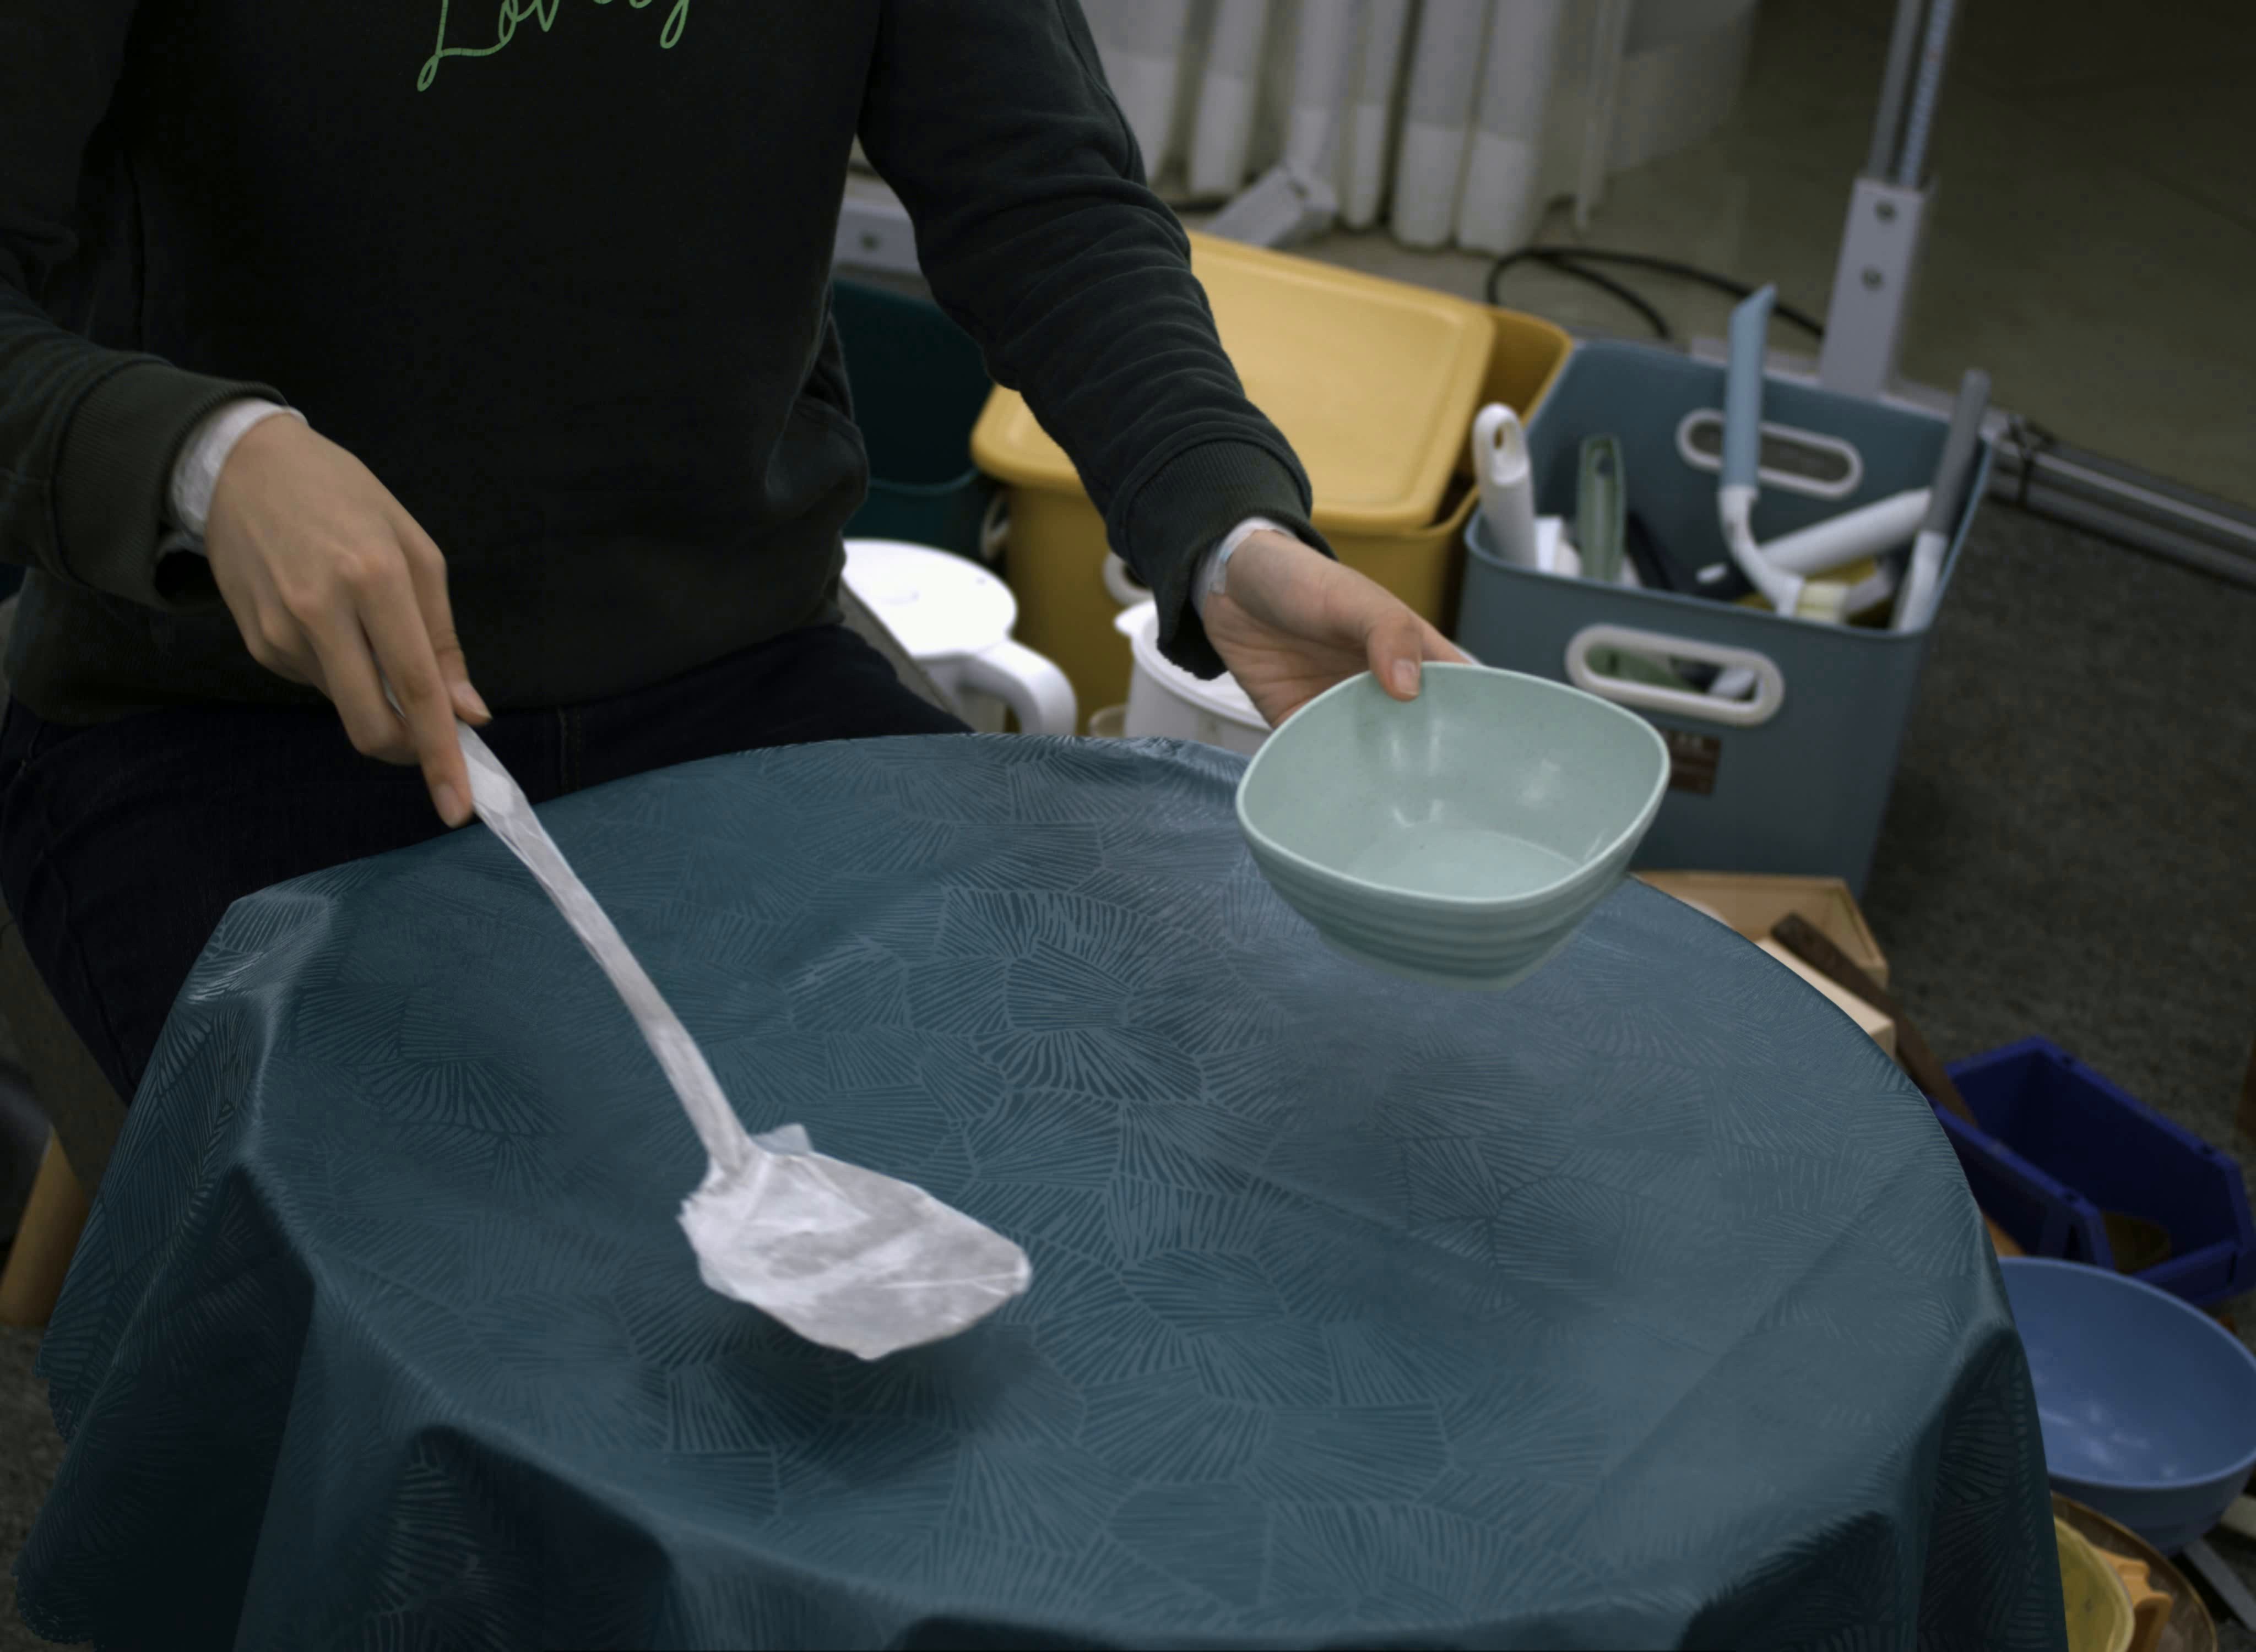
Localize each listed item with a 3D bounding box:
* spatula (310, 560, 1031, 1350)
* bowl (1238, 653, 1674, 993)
[{"bbox_3d":[-0.167,0.034,1.723,0.098,0.044,0.367,-17,61,-42],"label":"spatula"},{"bbox_3d":[0.112,0.006,1.822,0.151,0.058,0.152,-2,36,1],"label":"bowl"}]
